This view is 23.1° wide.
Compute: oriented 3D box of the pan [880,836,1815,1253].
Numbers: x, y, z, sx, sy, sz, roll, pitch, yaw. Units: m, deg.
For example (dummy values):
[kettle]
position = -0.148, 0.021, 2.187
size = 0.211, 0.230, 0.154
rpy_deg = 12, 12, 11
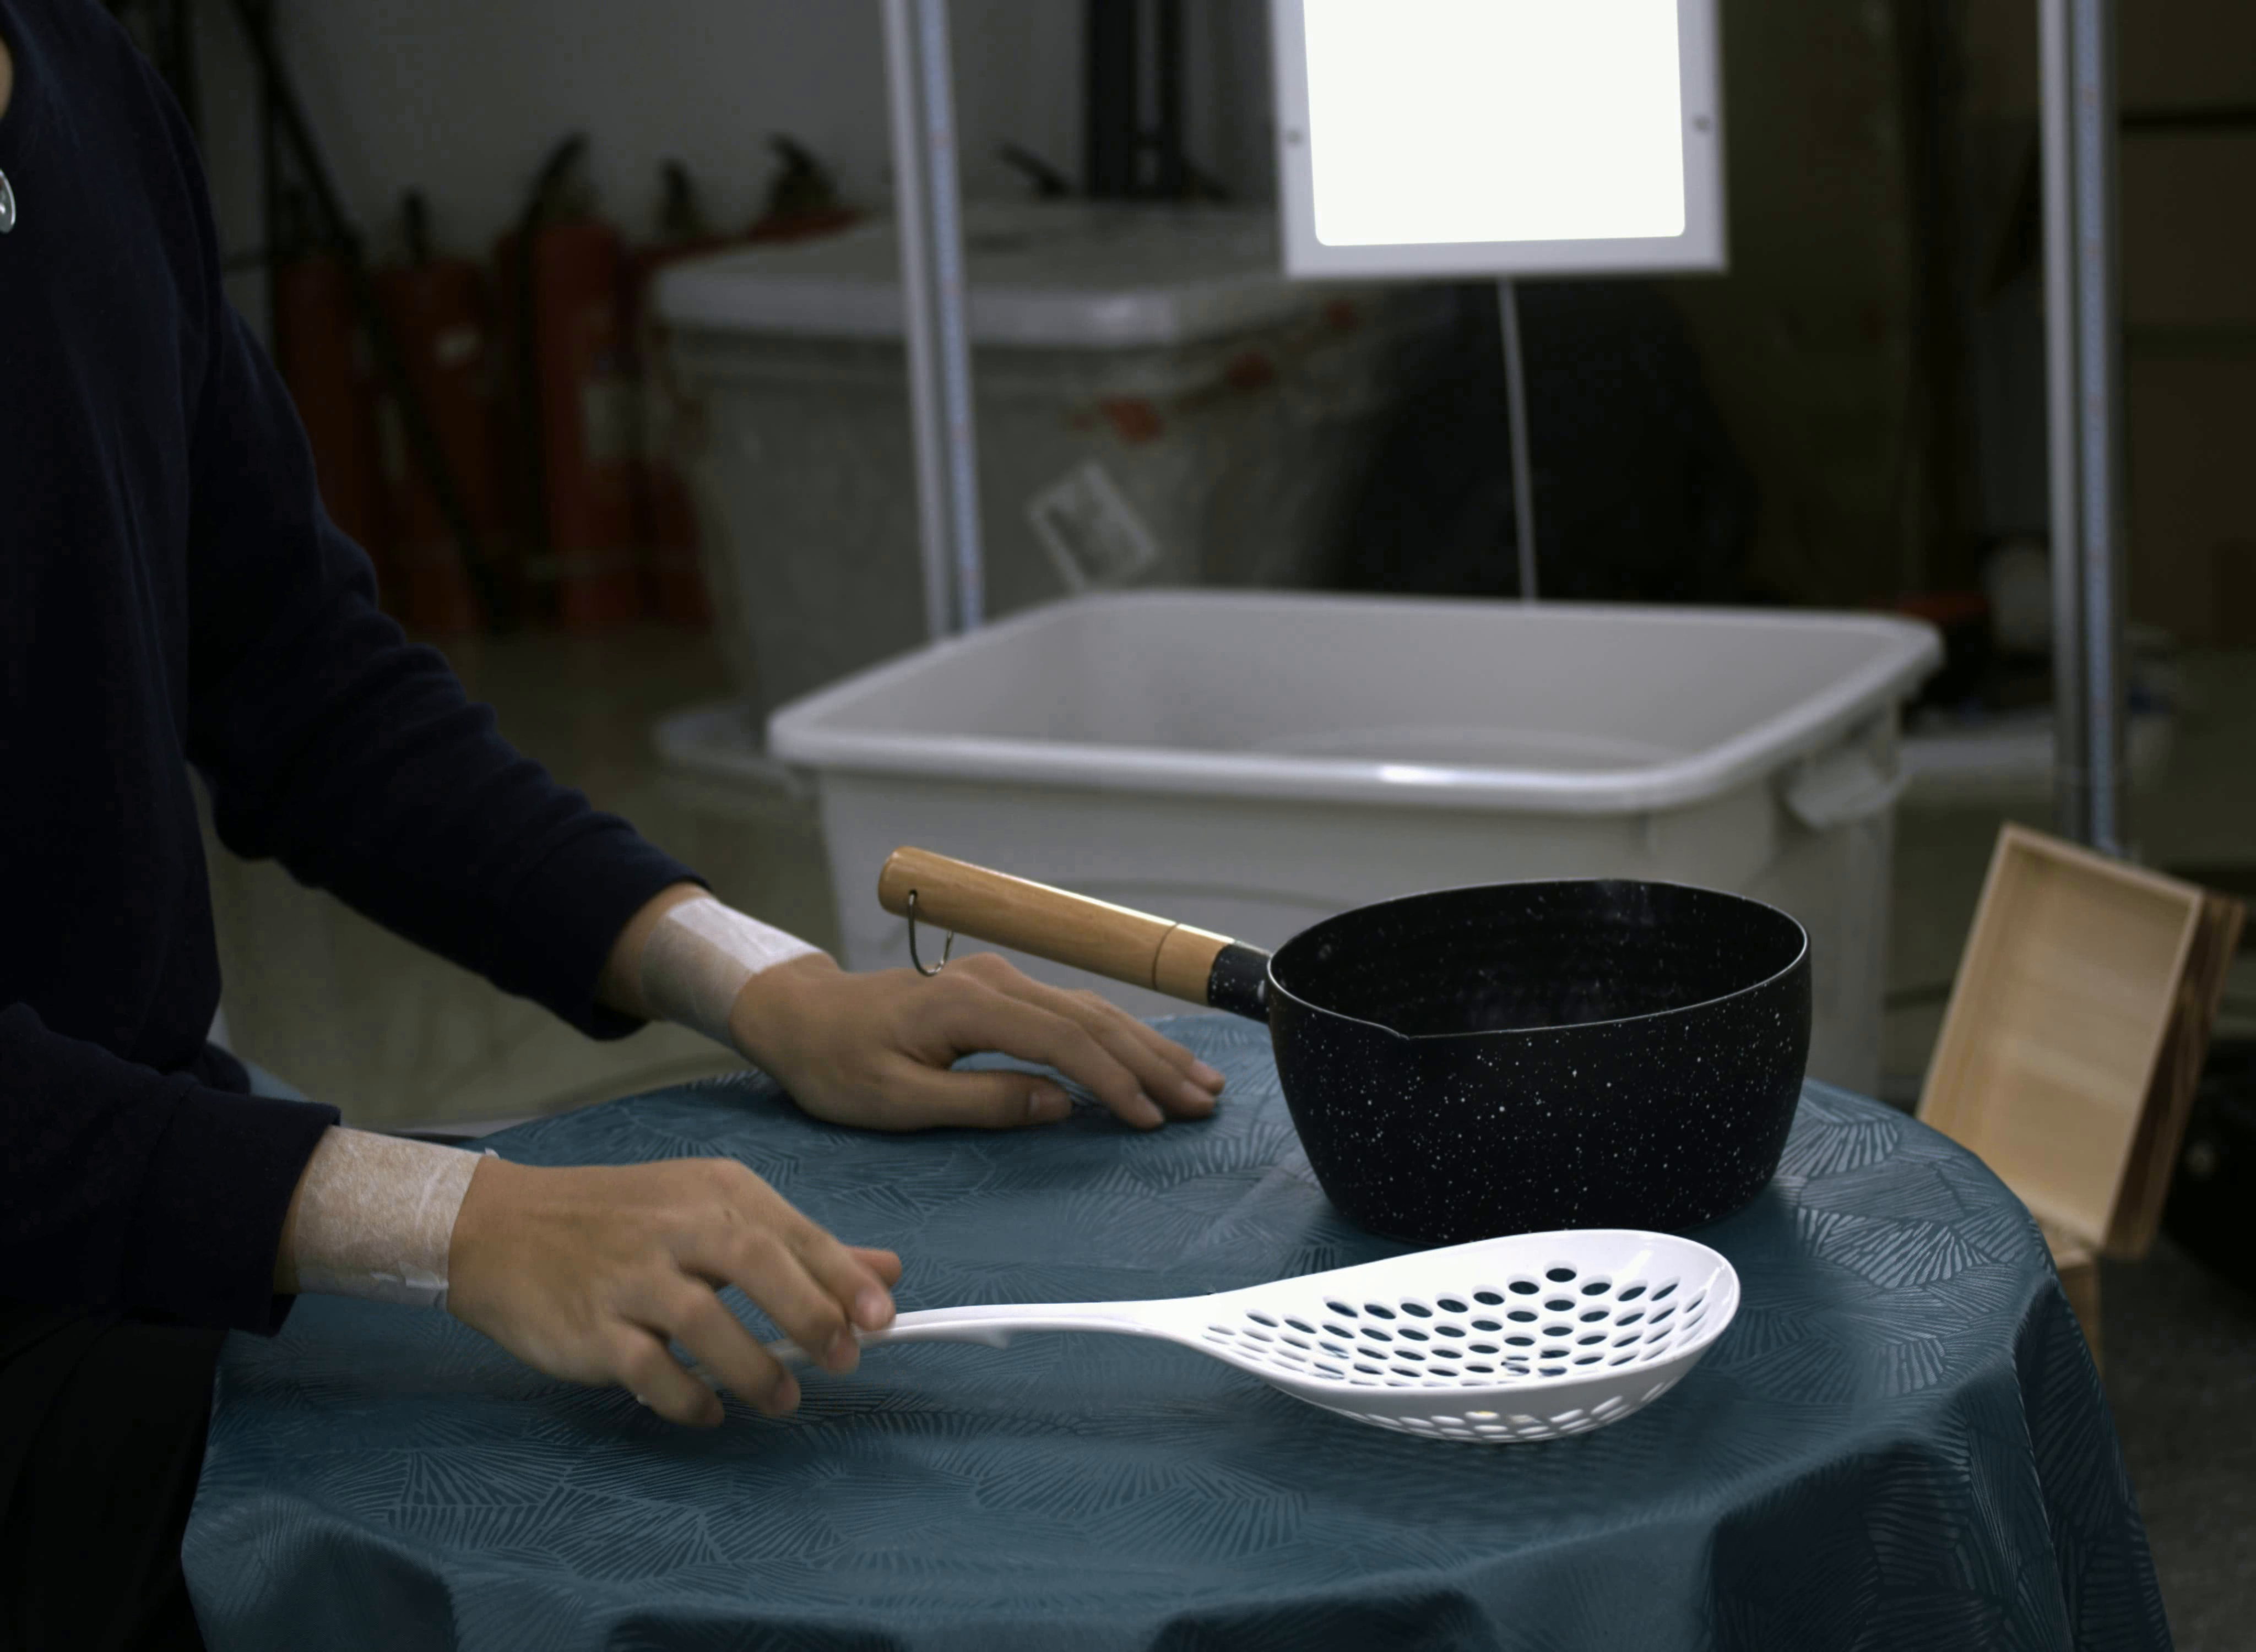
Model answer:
[pan]
position = 0.068, 0.067, 1.887
size = 0.348, 0.108, 0.203
rpy_deg = 4, 17, 27

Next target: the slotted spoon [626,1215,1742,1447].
[slotted spoon]
position = 0.013, 0.159, 1.670
size = 0.351, 0.050, 0.135
rpy_deg = 1, 17, 16
